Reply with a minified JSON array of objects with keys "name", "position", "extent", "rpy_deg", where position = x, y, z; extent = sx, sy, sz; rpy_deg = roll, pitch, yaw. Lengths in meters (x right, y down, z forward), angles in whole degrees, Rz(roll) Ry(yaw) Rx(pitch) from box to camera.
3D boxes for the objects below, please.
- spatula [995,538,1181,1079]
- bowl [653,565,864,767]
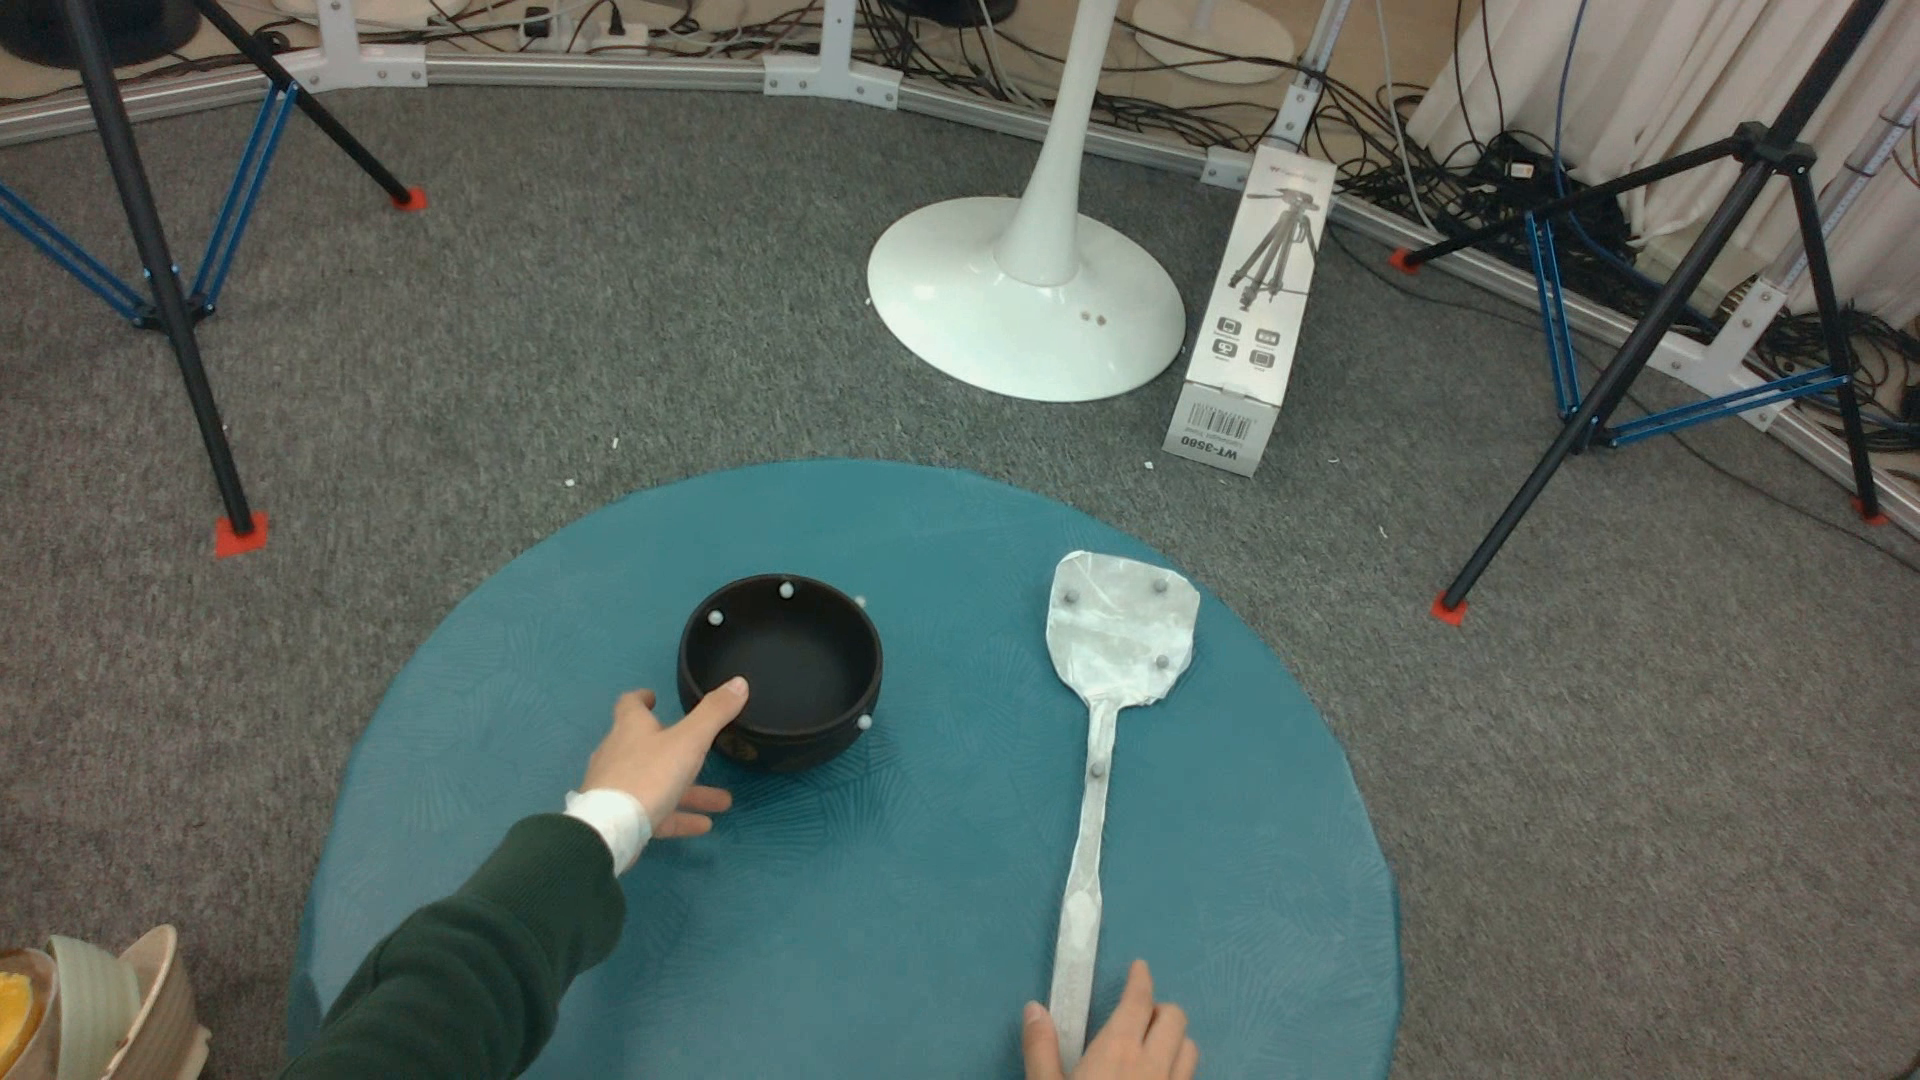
[{"name":"spatula","position":[0.065,0.145,0.799],"extent":[0.099,0.044,0.367],"rpy_deg":[16,46,-1]},{"name":"bowl","position":[-0.116,0.079,0.792],"extent":[0.118,0.069,0.118],"rpy_deg":[6,48,-6]}]
